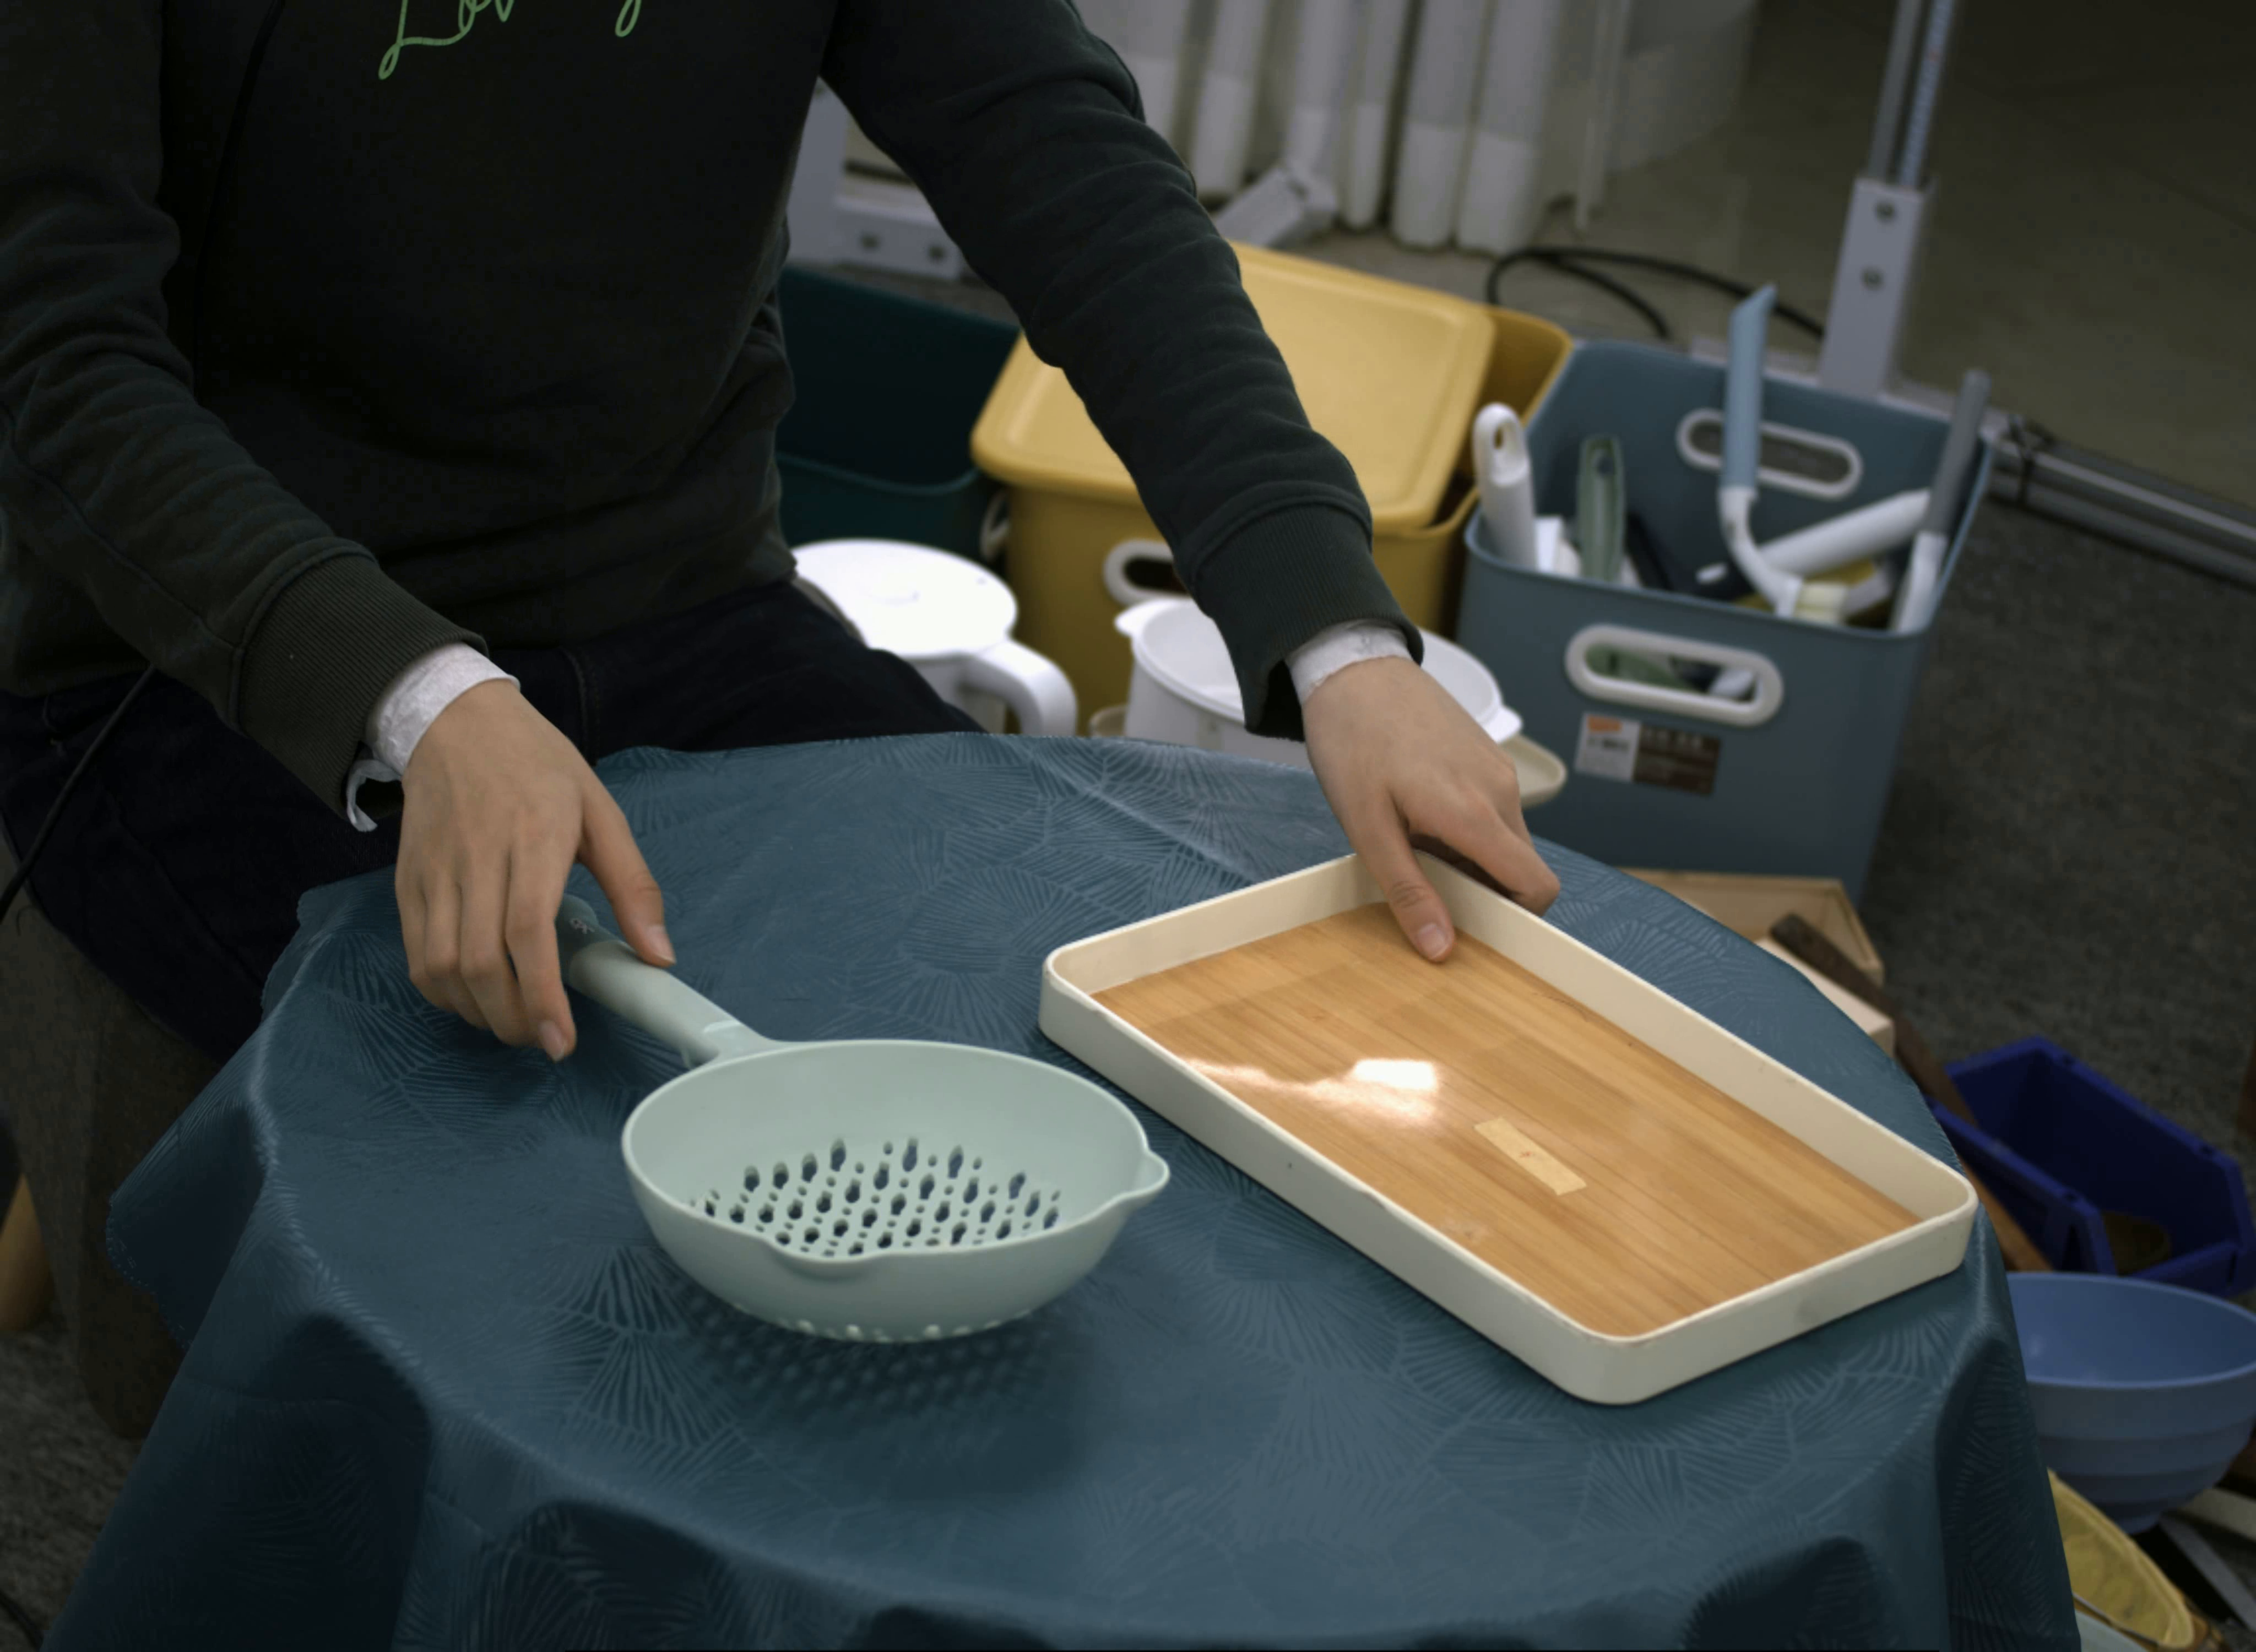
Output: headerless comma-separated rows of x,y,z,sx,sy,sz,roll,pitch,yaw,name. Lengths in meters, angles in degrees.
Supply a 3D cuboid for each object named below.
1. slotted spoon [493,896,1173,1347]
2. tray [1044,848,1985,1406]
-0.129,0.083,1.781,0.168,0.075,0.362,-10,31,-31,slotted spoon
0.130,0.099,1.851,0.190,0.027,0.303,-16,35,-37,tray
